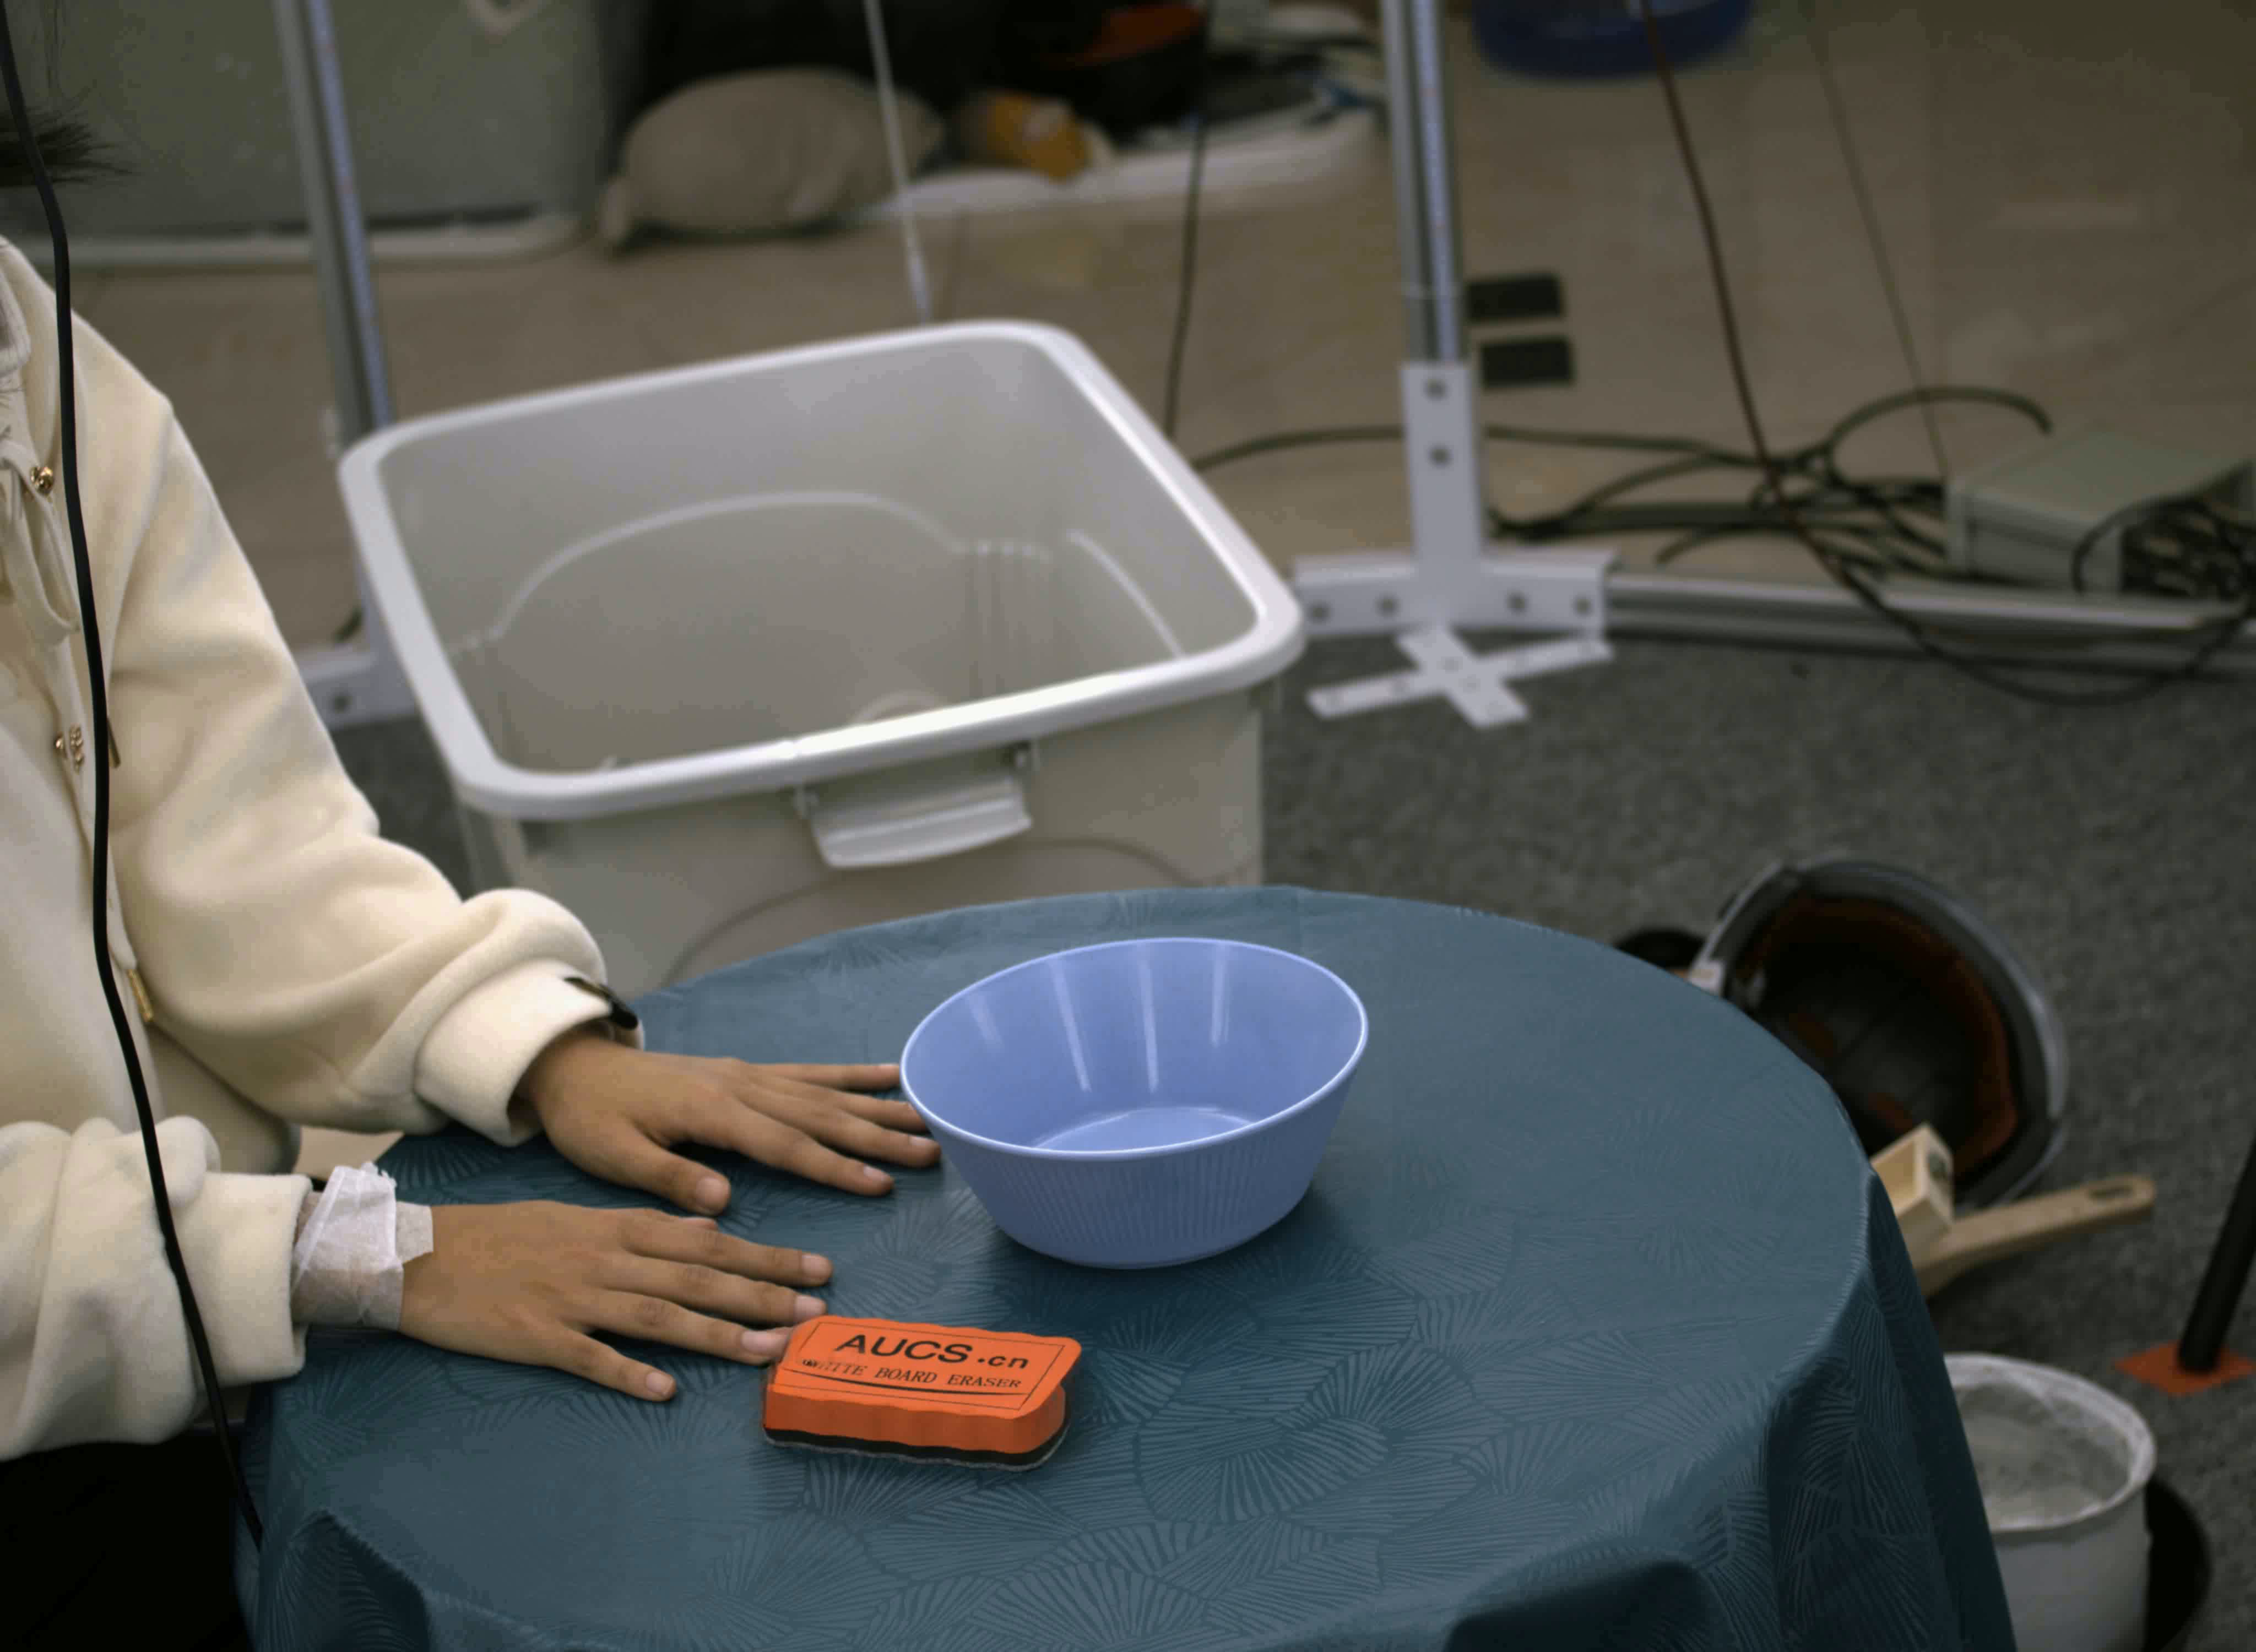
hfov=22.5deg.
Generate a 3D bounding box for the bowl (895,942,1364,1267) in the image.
[{"bbox_3d":[0.003,0.110,2.124,0.176,0.071,0.173,-5,25,2],"label":"bowl"}]

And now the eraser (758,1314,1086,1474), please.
[{"bbox_3d":[-0.073,0.200,2.007,0.108,0.023,0.058,4,29,22],"label":"eraser"}]
